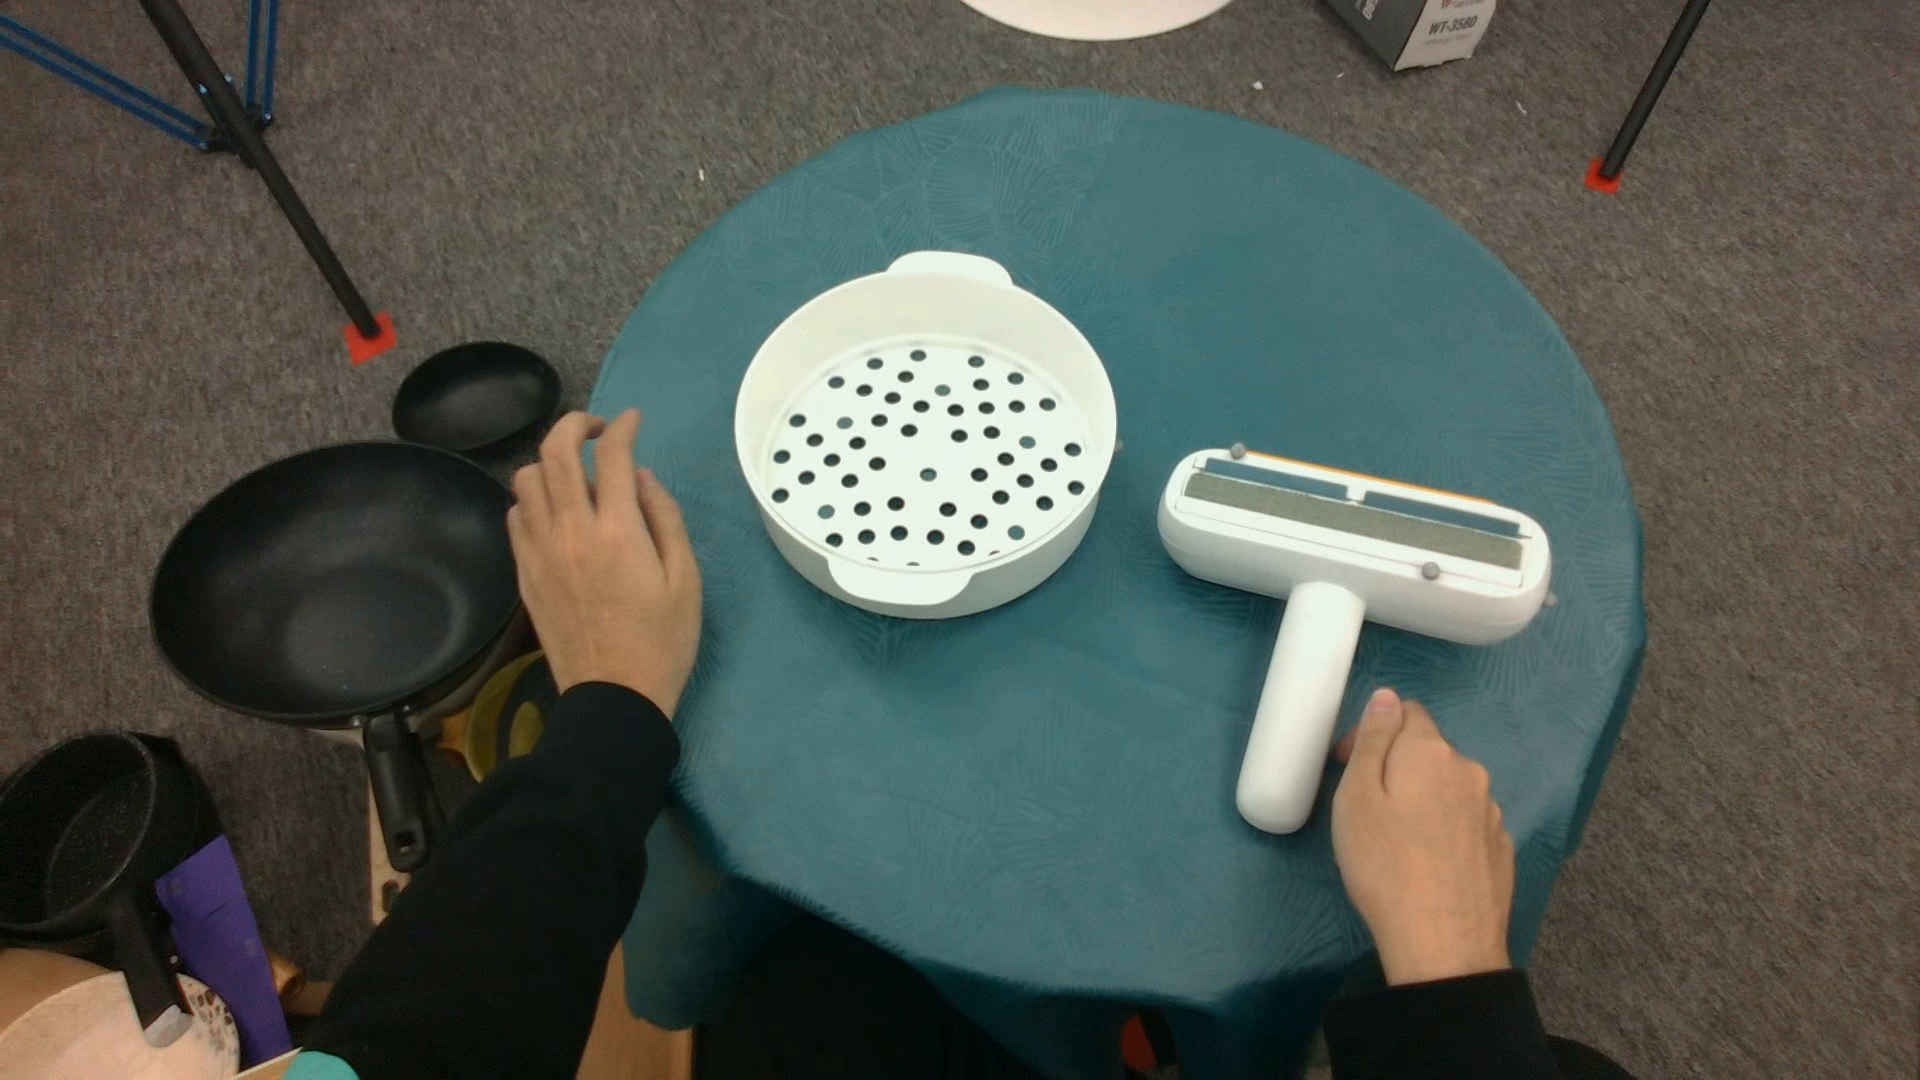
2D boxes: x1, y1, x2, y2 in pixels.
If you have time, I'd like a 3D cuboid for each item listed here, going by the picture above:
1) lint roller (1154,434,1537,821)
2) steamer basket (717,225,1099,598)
[{"bbox_3d":[0.170,0.046,0.690,0.193,0.074,0.193,20,62,16],"label":"lint roller"},{"bbox_3d":[-0.027,-0.065,0.753,0.202,0.069,0.231,6,62,4],"label":"steamer basket"}]
